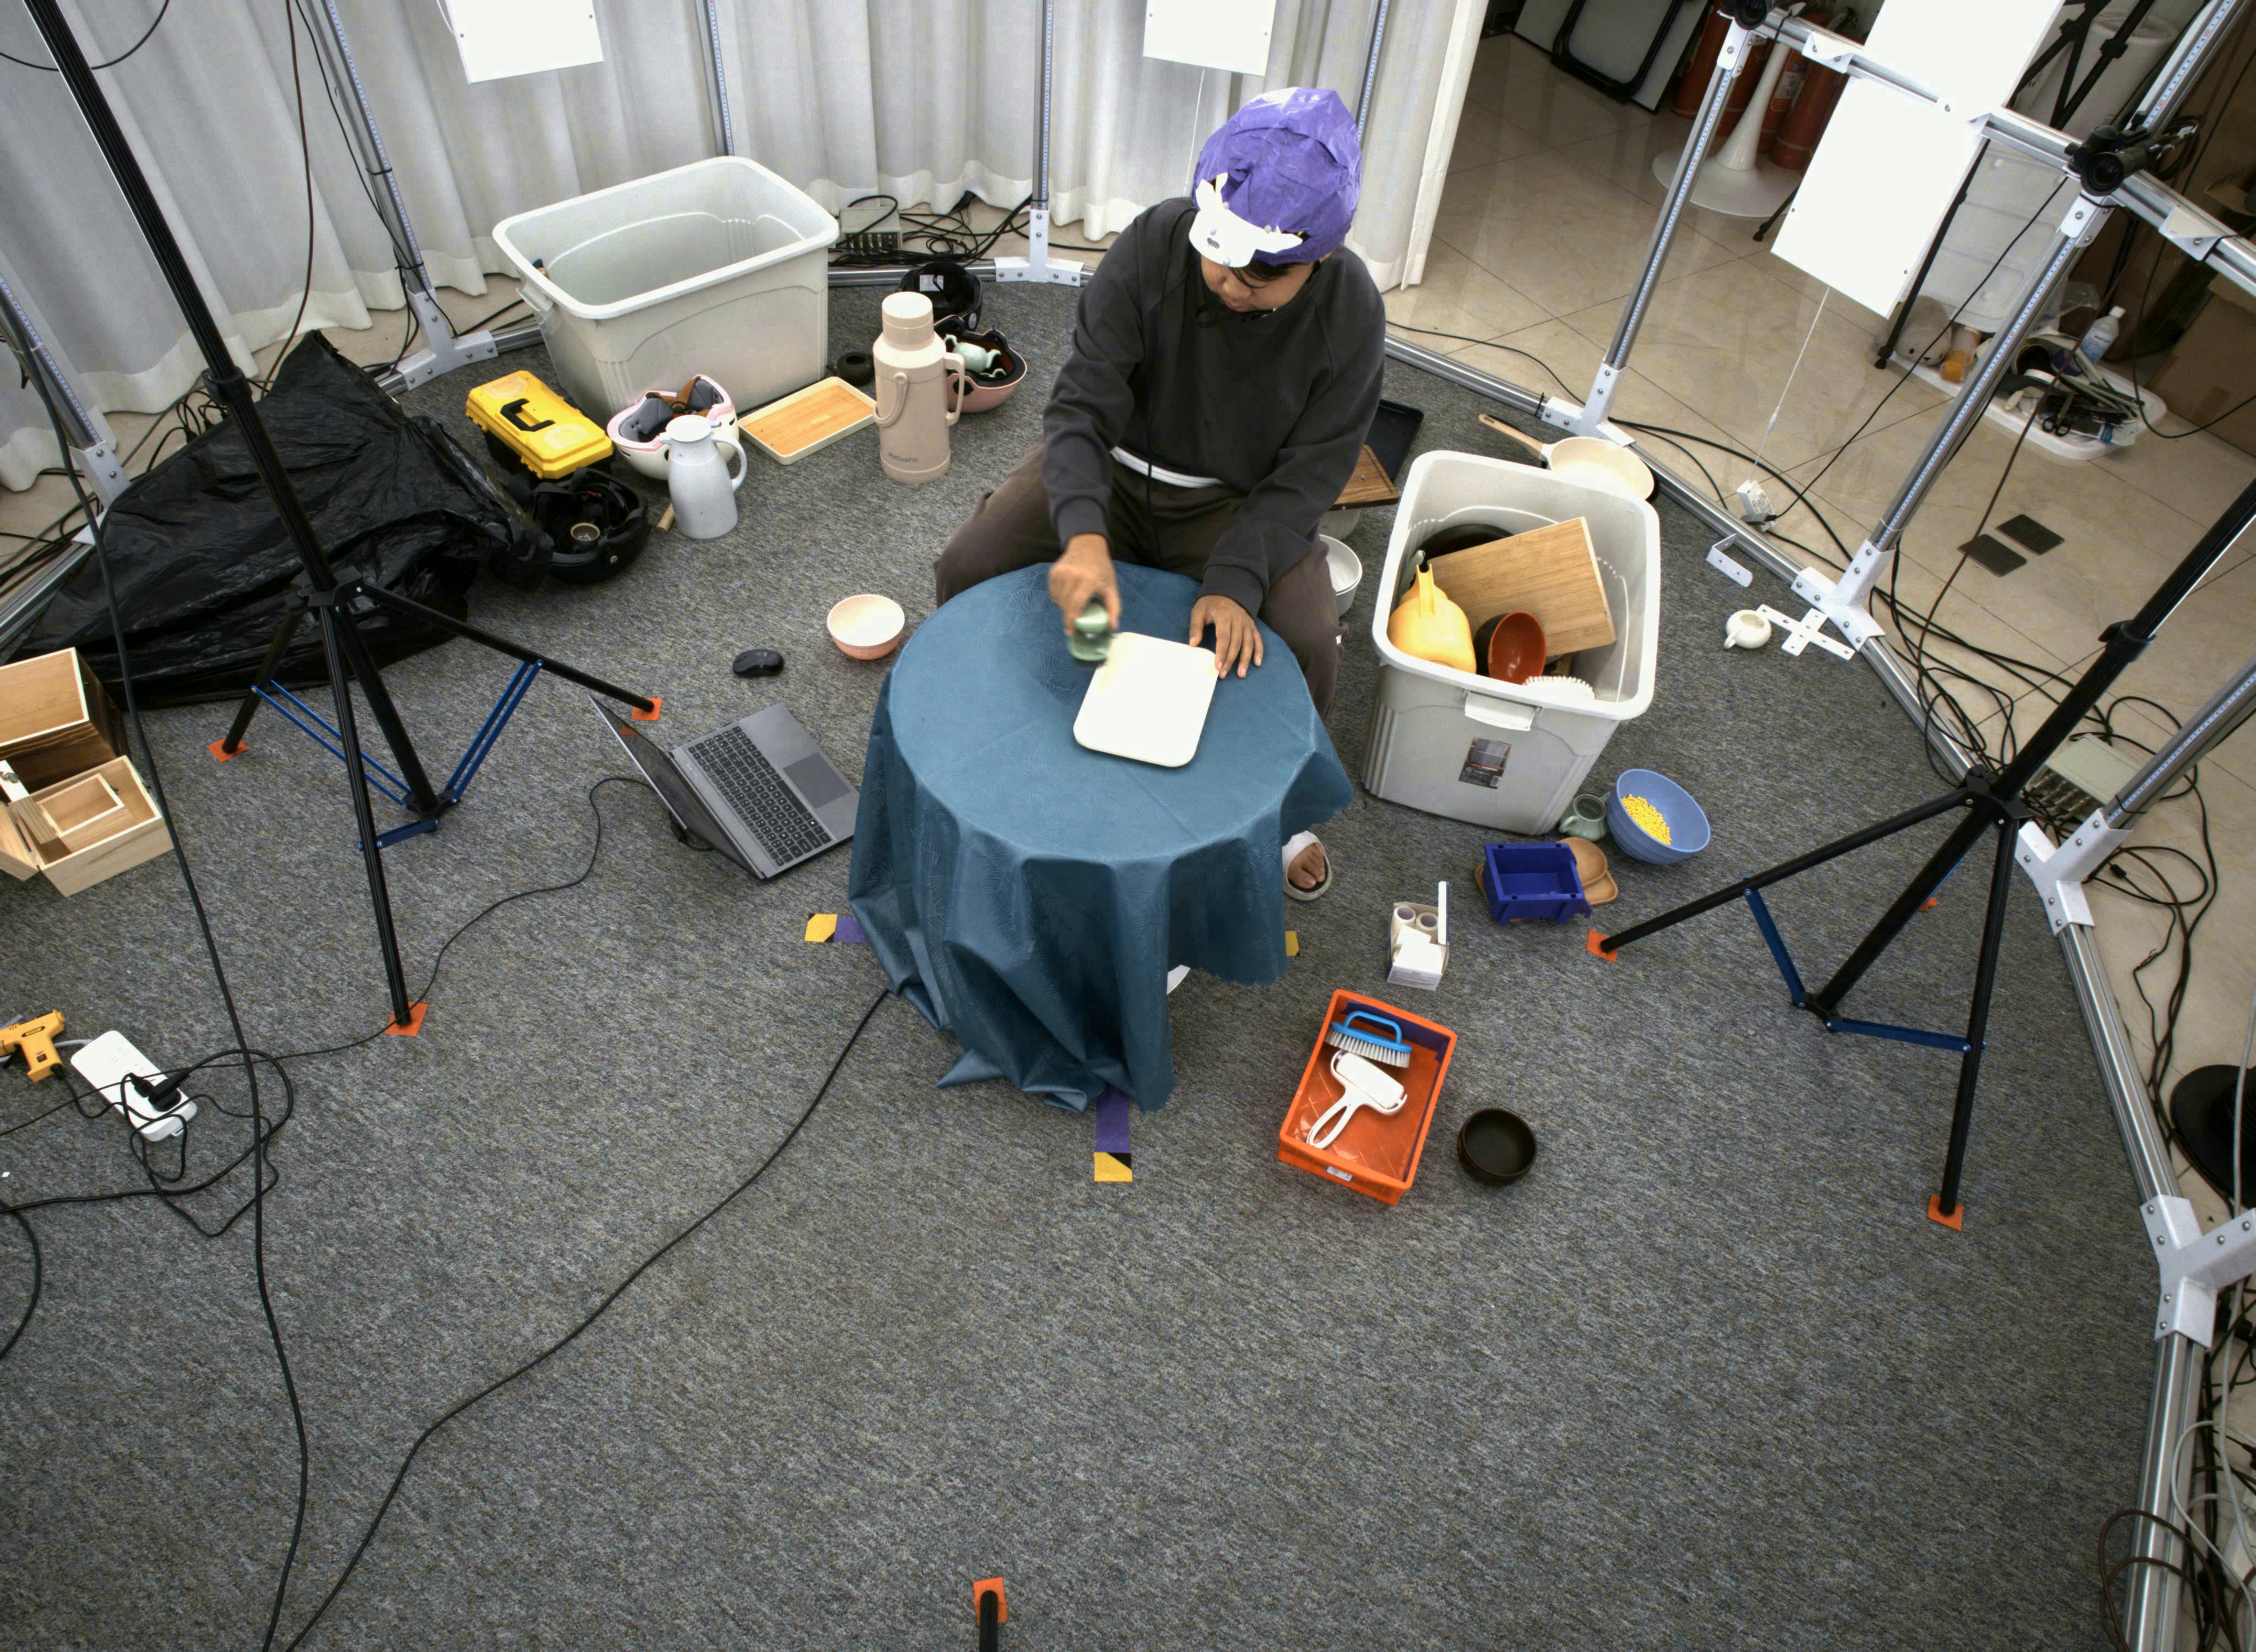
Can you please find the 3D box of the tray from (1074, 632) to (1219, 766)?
[{"bbox_3d":[0.029,-0.181,1.813,0.171,0.017,0.245,13,49,7],"label":"tray"}]

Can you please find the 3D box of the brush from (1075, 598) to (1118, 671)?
[{"bbox_3d":[-0.043,-0.269,1.792,0.059,0.074,0.125,2,28,-2],"label":"brush"}]
